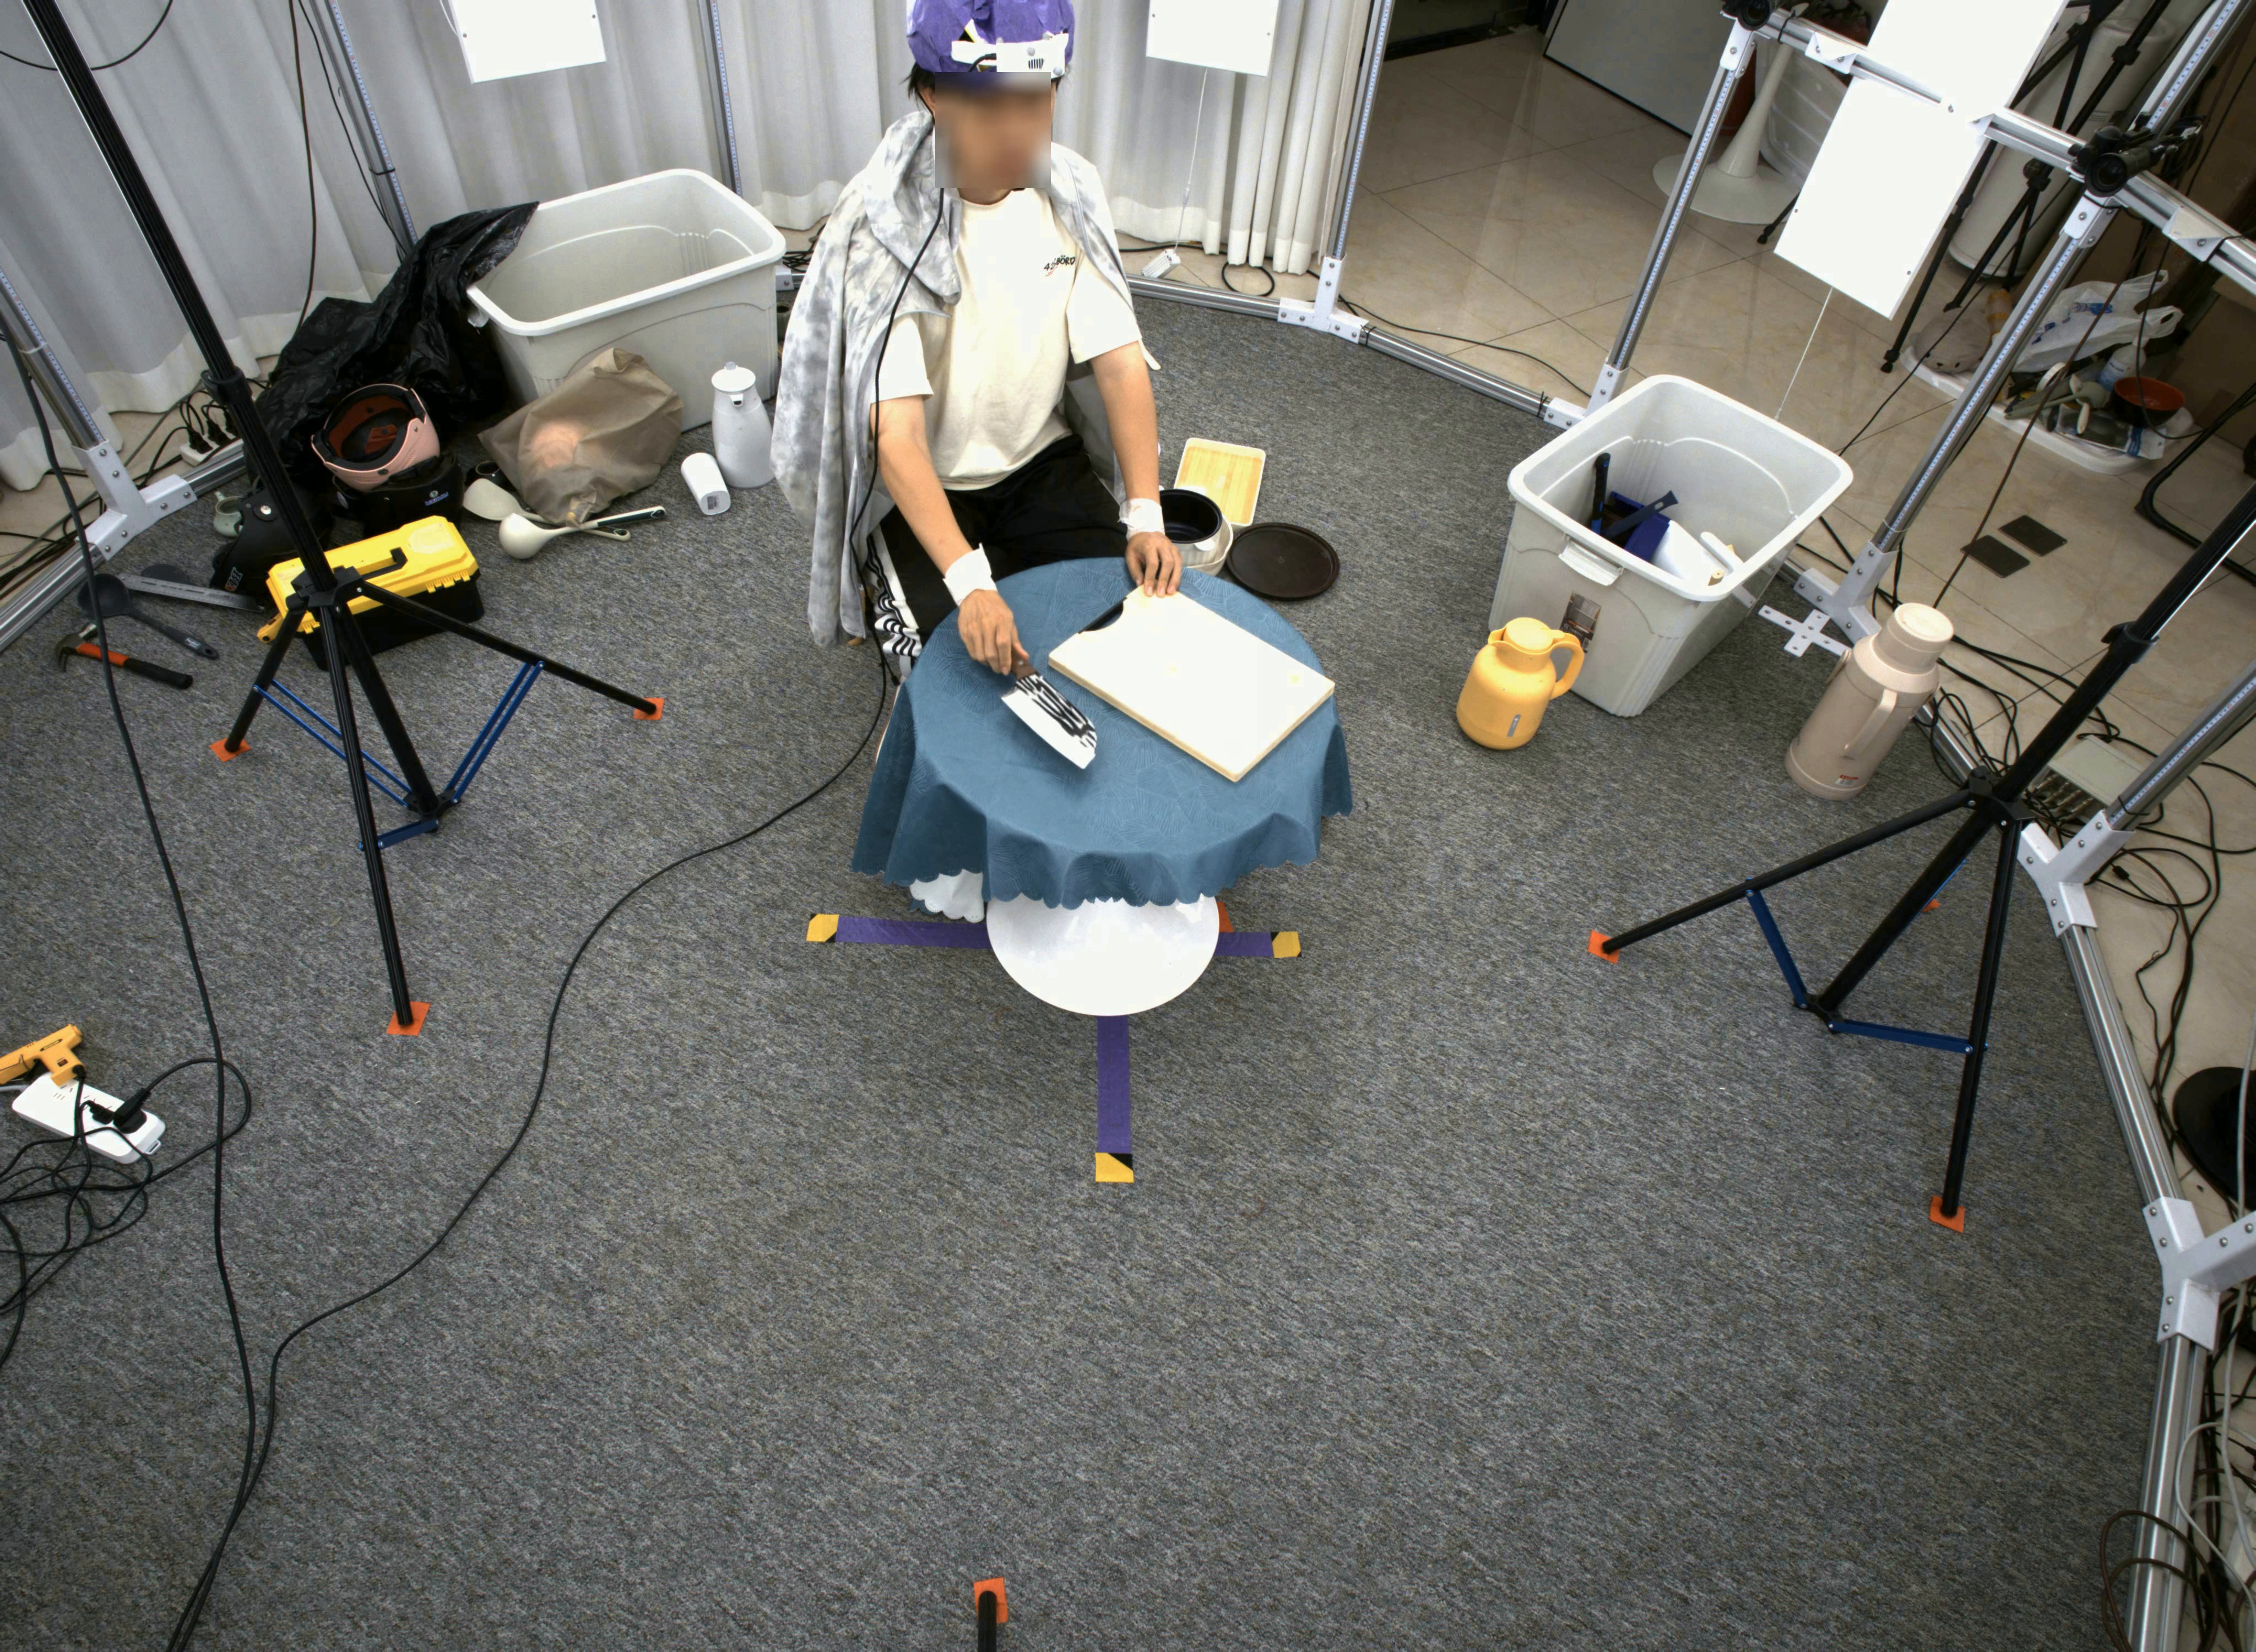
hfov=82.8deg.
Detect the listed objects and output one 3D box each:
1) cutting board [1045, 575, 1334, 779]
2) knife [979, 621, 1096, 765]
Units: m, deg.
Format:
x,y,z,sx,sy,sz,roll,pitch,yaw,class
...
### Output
x,y,z,sx,sy,sz,roll,pitch,yaw,class
0.087,-0.223,1.850,0.353,0.023,0.253,33,54,23,cutting board
-0.133,-0.184,1.758,0.068,0.023,0.305,-32,57,-19,knife
